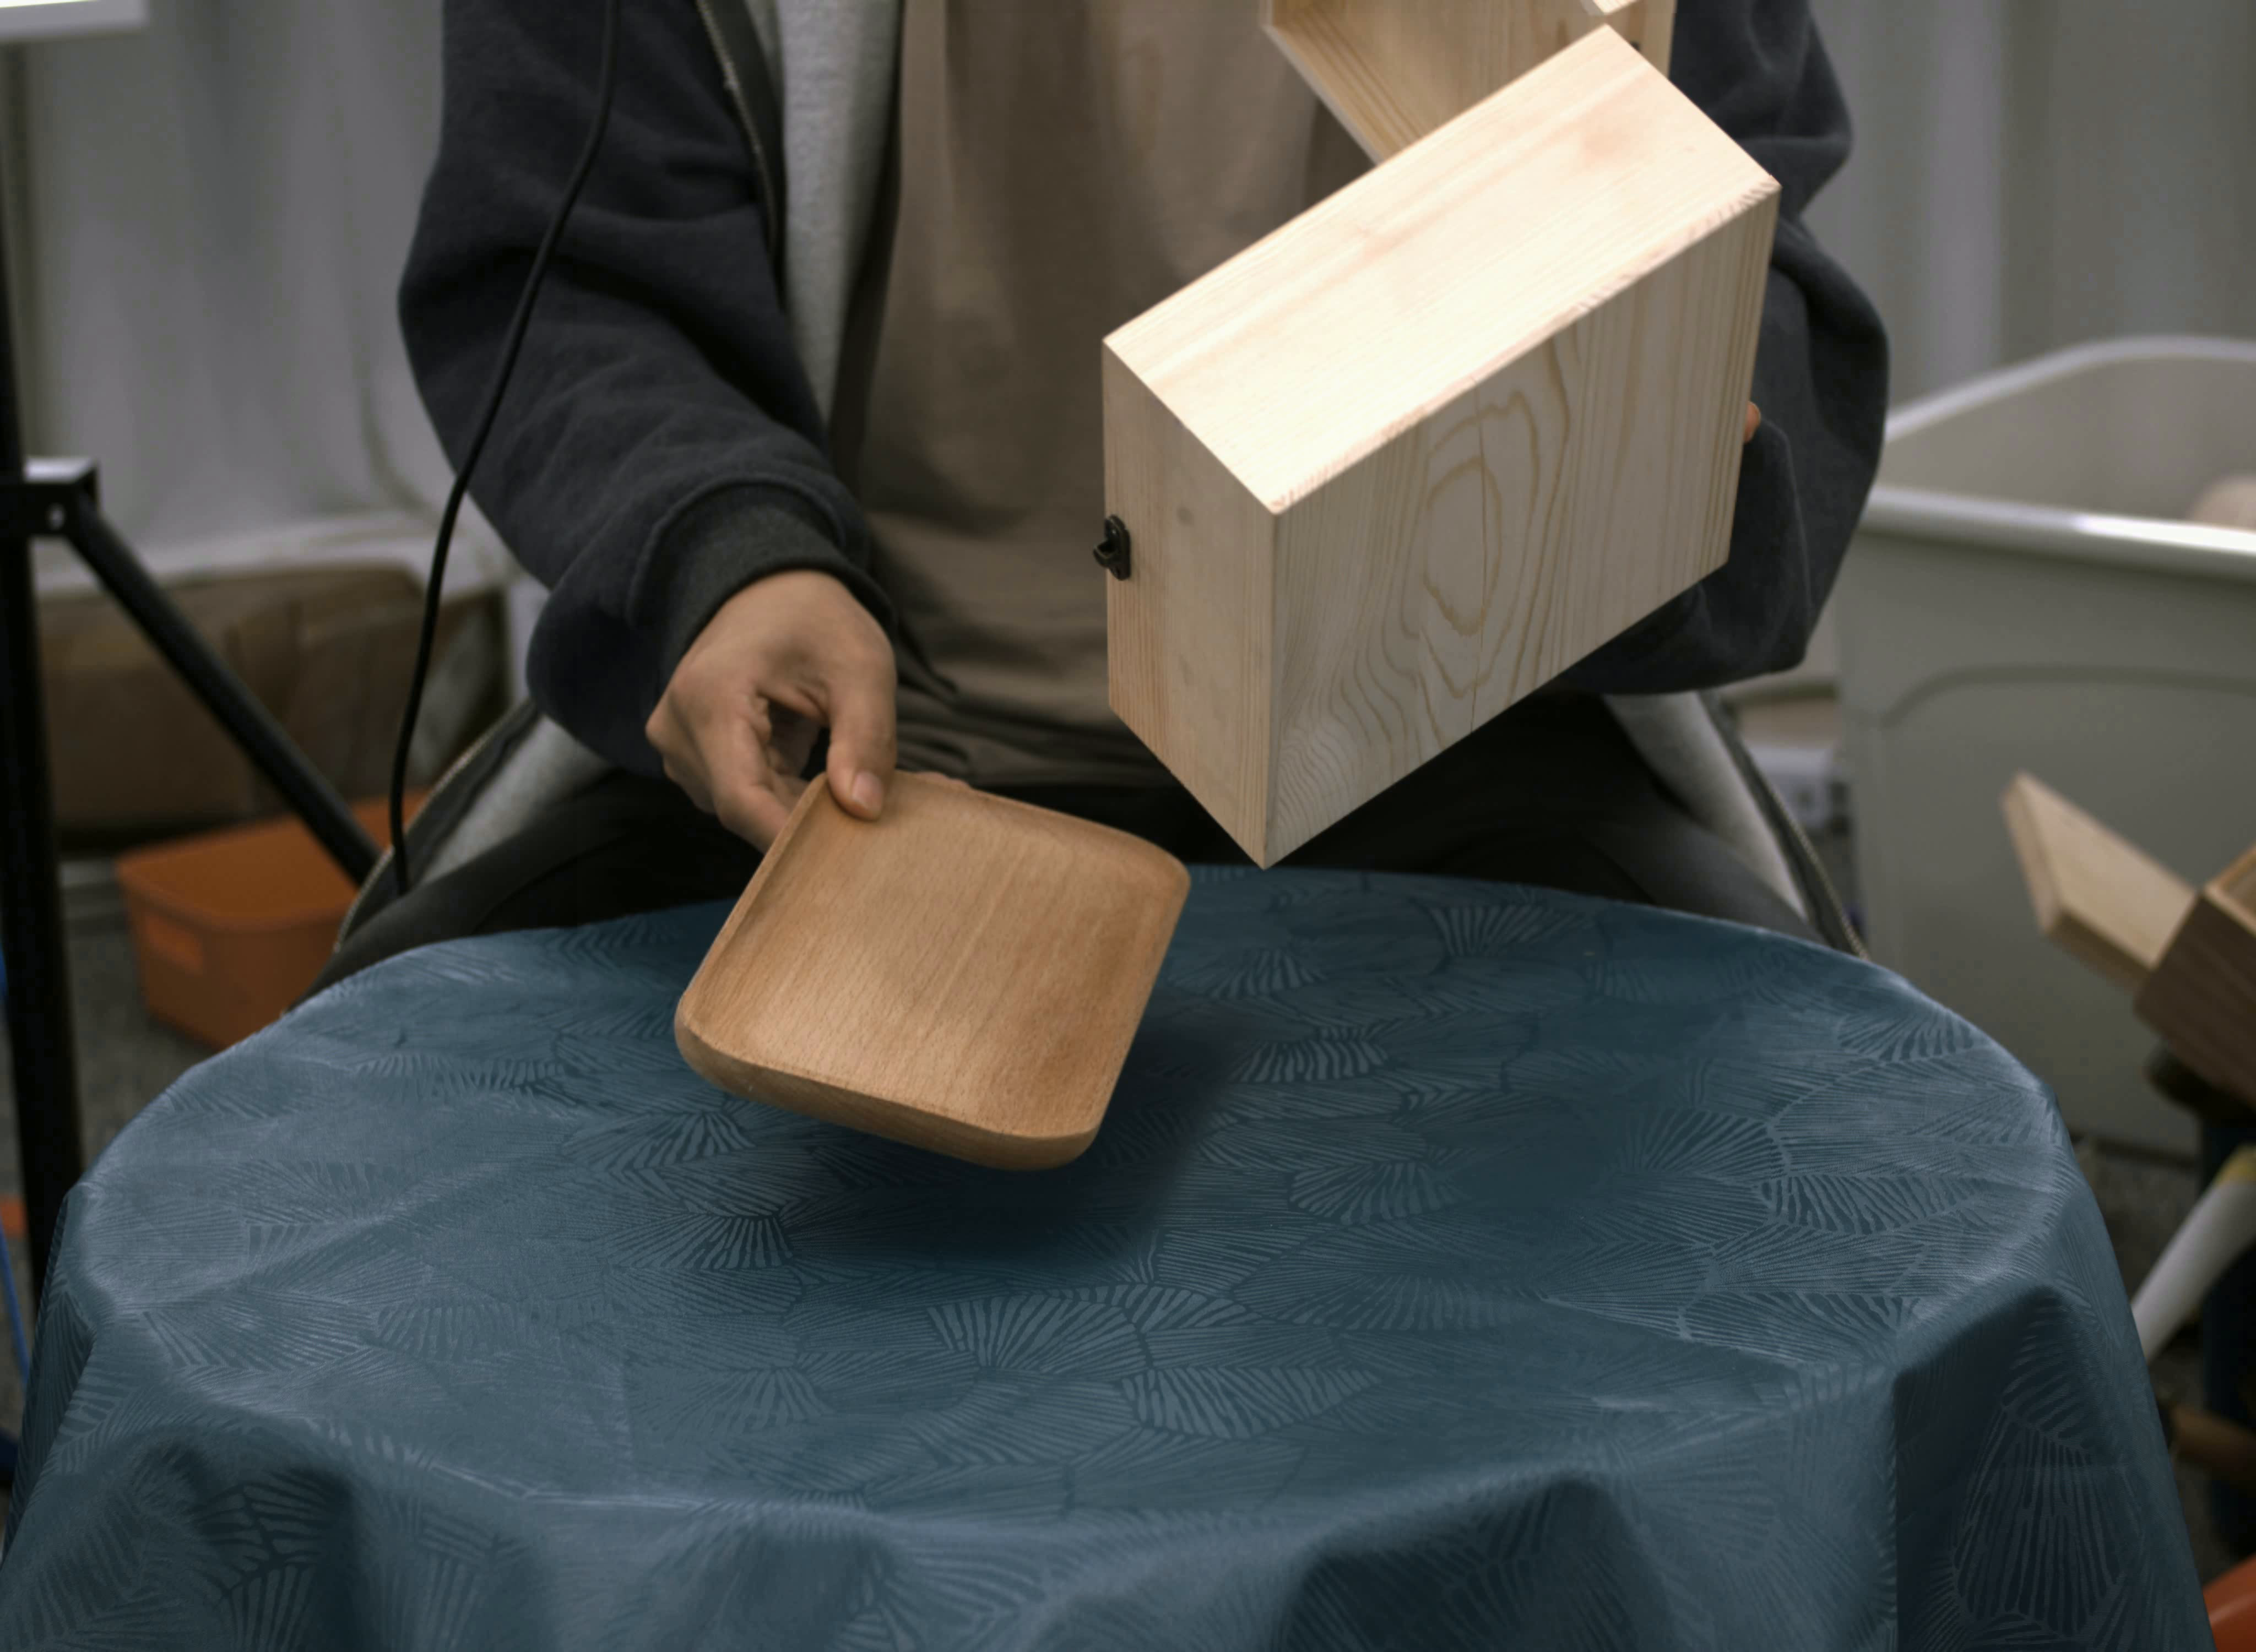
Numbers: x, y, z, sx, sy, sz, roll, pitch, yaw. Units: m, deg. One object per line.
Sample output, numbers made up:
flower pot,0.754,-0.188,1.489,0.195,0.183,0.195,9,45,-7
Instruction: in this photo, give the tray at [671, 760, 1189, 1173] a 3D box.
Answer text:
tray,-0.057,0.040,1.617,0.130,0.023,0.250,18,21,3

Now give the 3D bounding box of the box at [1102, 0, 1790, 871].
box,0.065,-0.180,1.569,0.262,0.180,0.258,-32,60,-18
